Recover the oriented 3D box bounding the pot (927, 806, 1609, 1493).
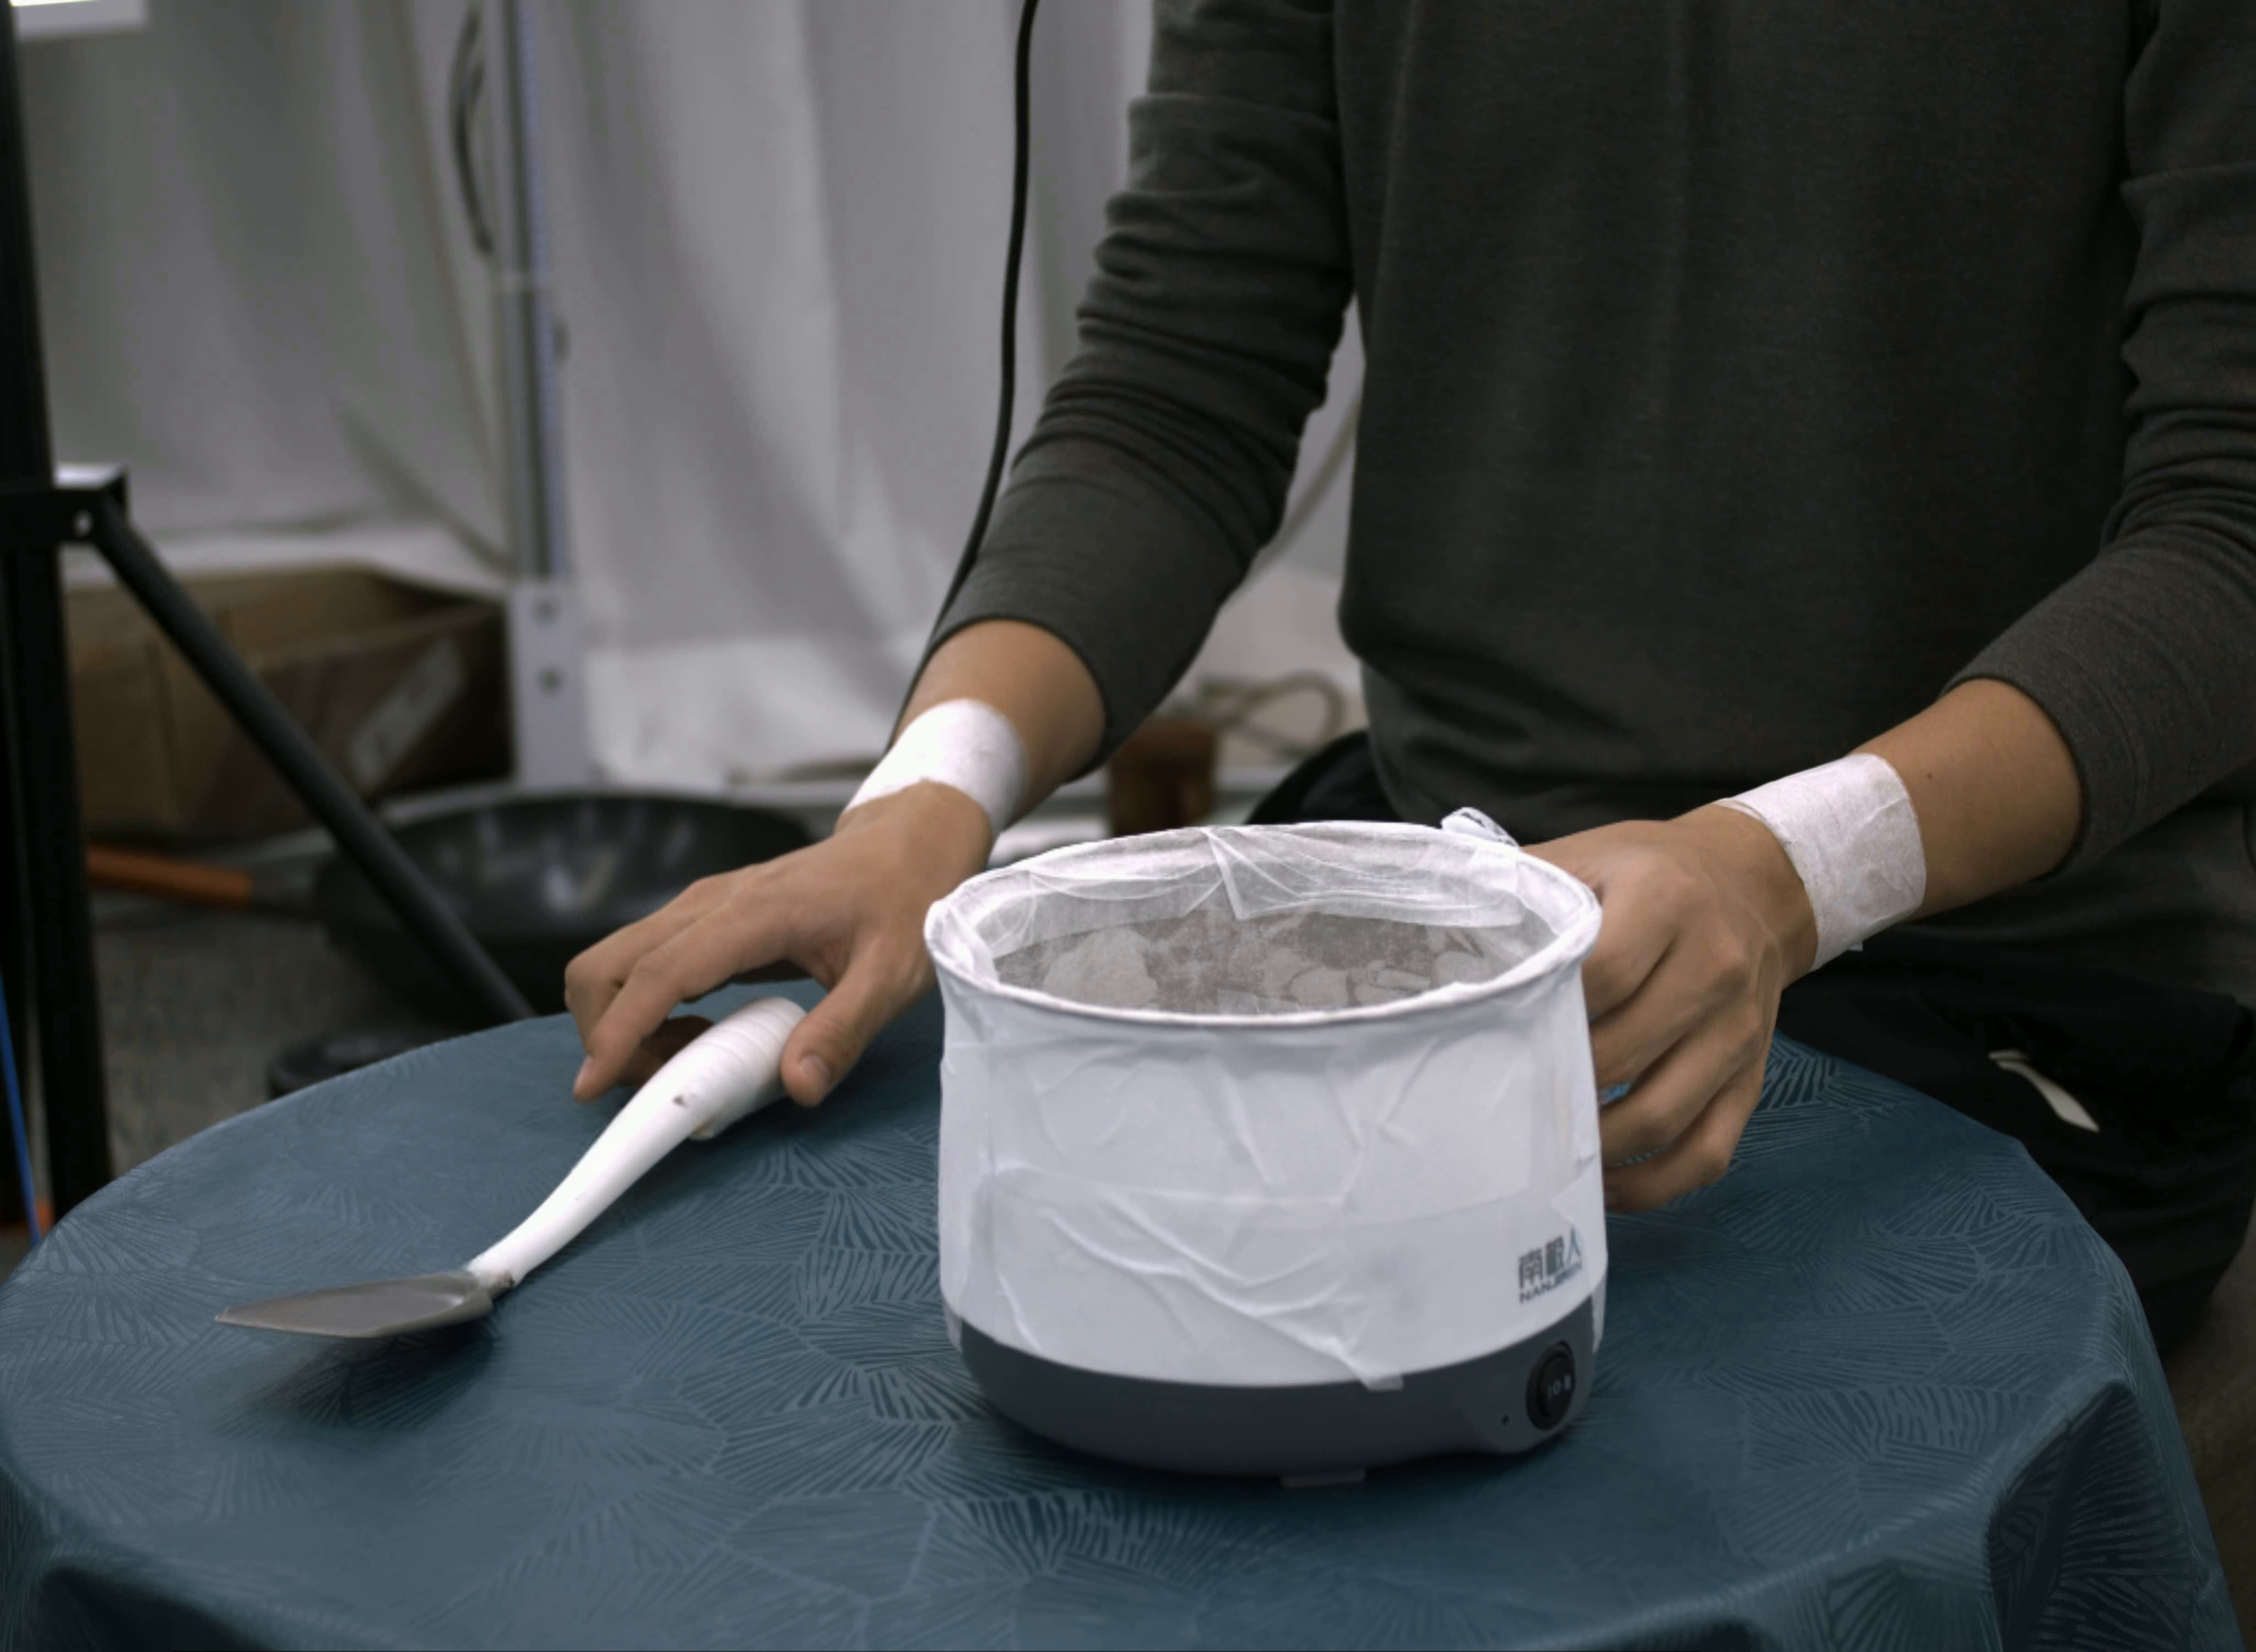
[{"bbox_3d":[0.054,0.077,1.410,0.182,0.136,0.229,9,19,35],"label":"pot"}]

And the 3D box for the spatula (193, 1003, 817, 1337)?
[{"bbox_3d":[-0.168,0.106,1.536,0.059,0.032,0.283,8,18,23],"label":"spatula"}]
